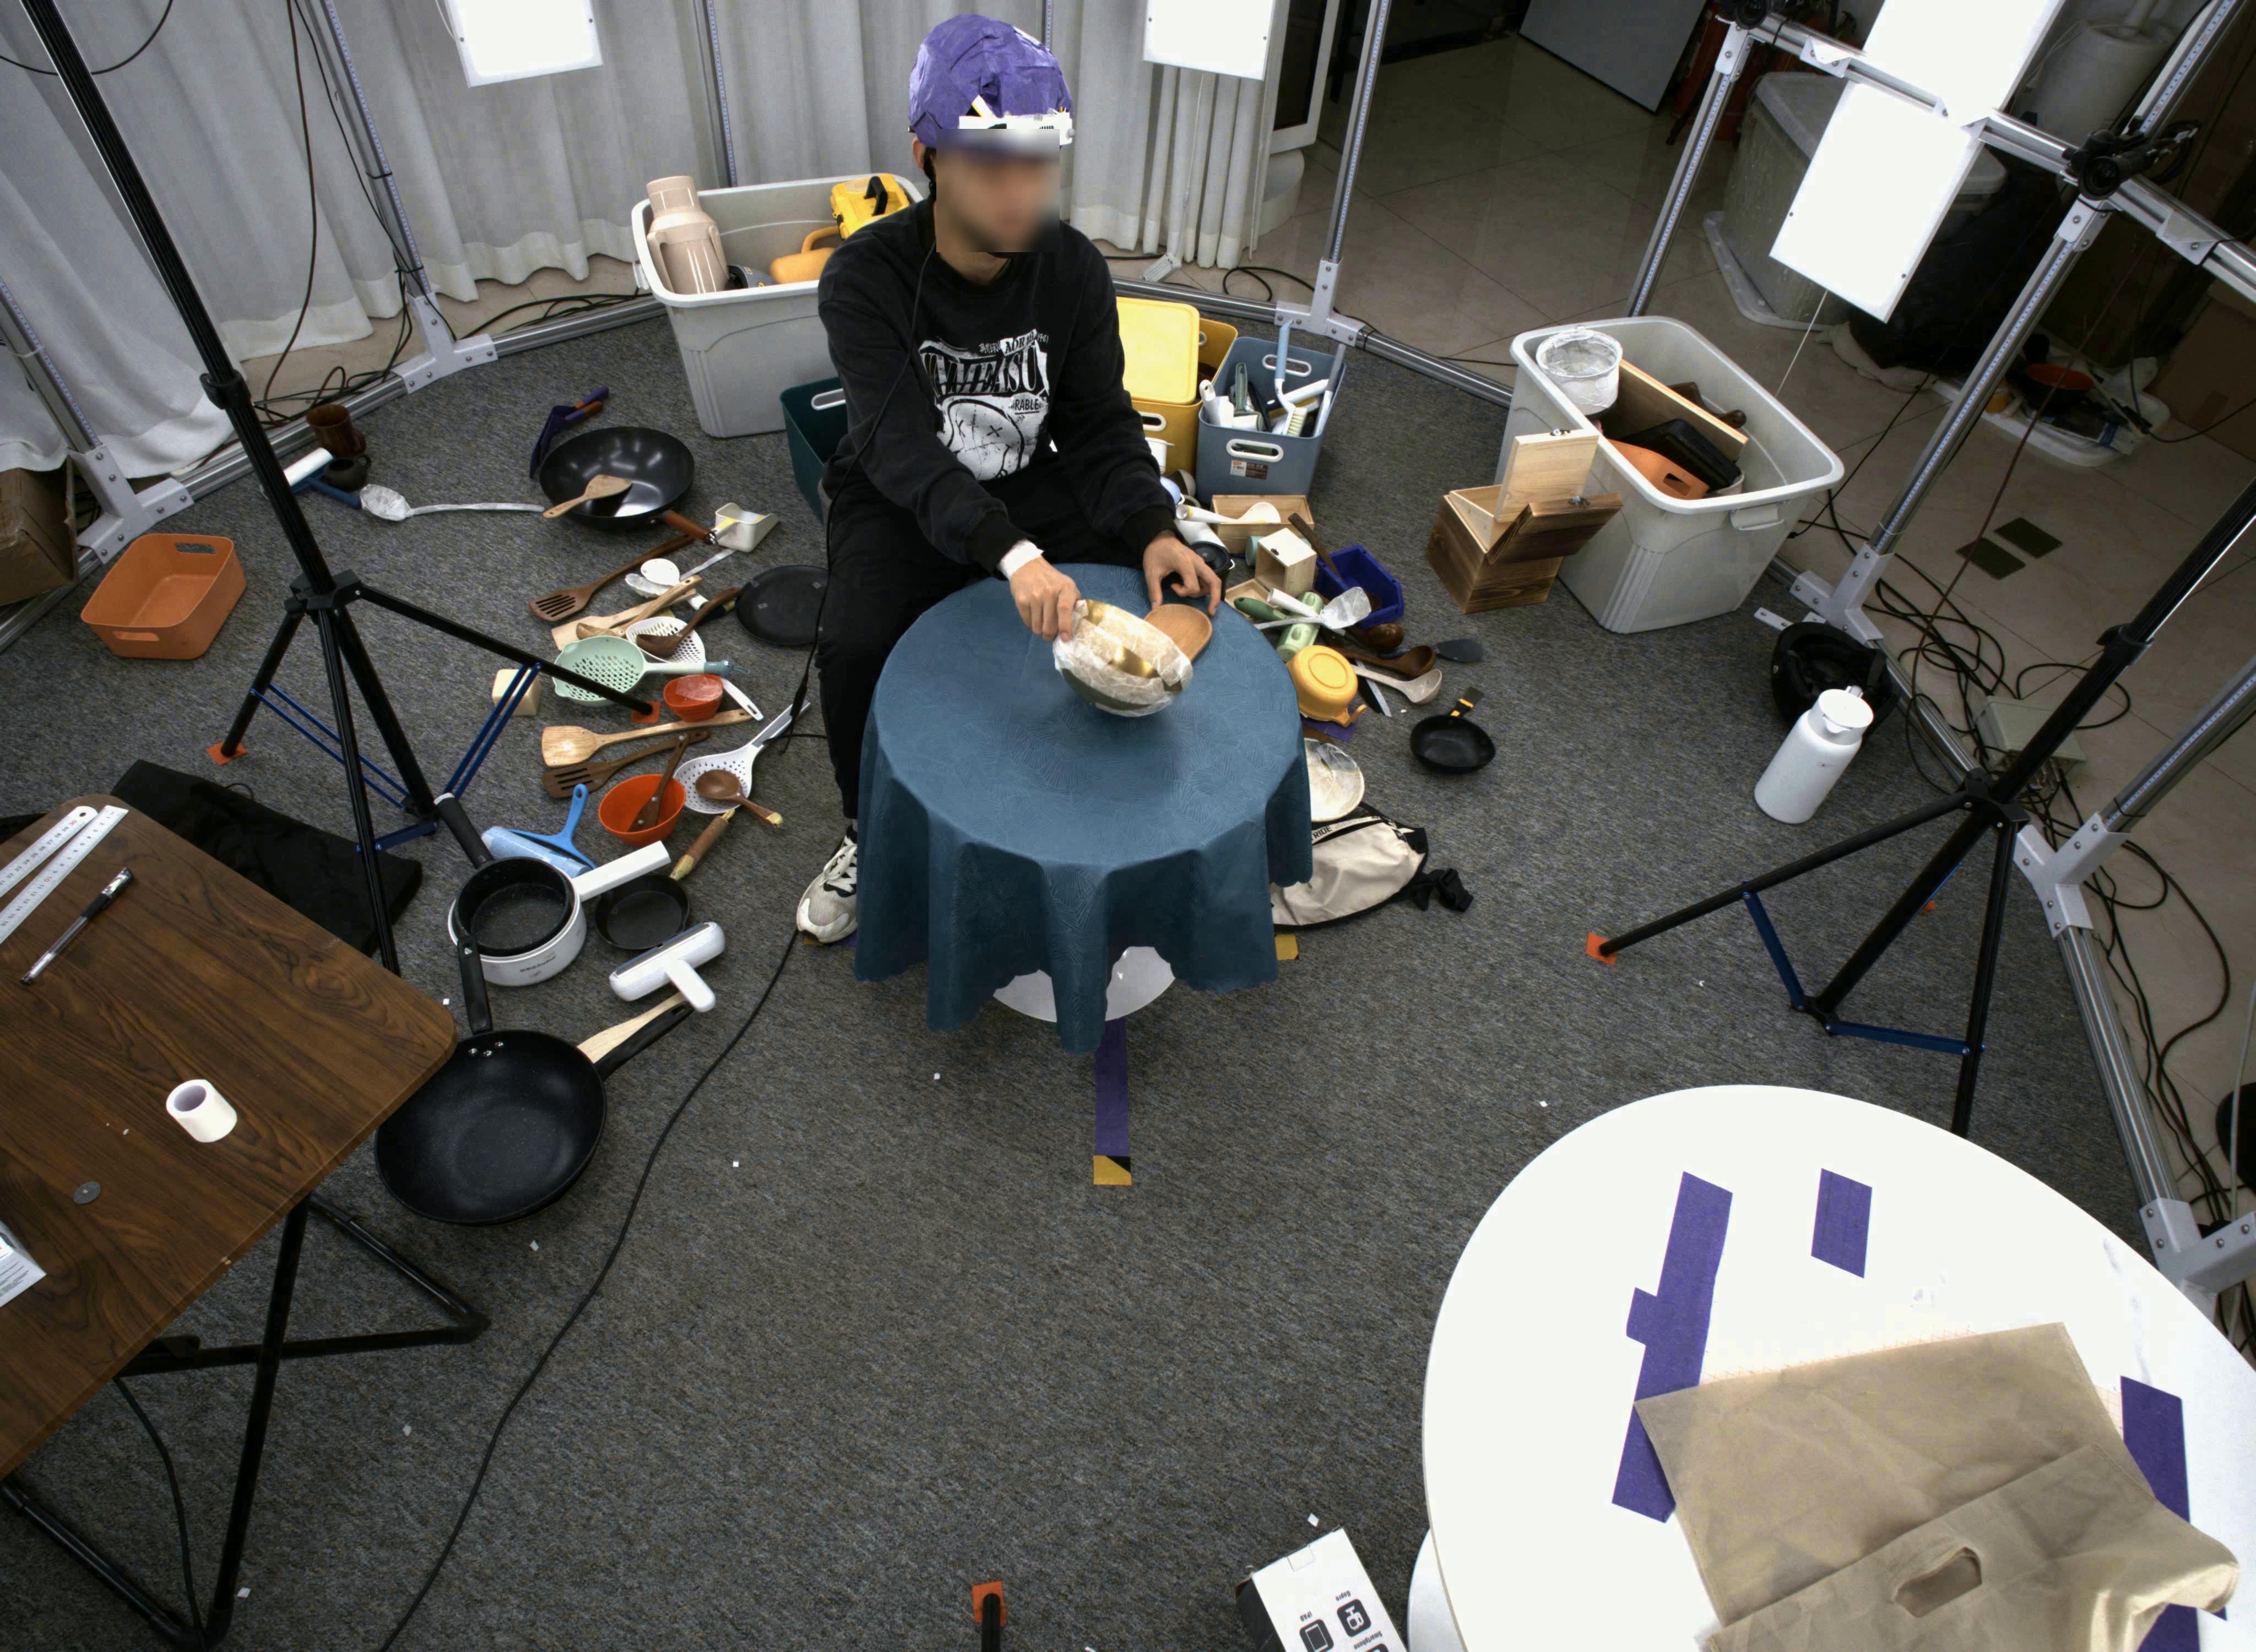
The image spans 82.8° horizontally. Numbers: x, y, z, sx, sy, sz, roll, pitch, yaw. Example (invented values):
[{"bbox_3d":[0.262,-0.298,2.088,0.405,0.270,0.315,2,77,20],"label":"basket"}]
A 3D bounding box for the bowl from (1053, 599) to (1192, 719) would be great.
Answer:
[{"bbox_3d":[-0.023,-0.207,1.740,0.216,0.211,0.095,25,76,16],"label":"bowl"}]

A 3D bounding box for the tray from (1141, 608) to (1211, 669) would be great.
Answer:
[{"bbox_3d":[0.043,-0.246,1.892,0.102,0.020,0.235,23,53,18],"label":"tray"}]
